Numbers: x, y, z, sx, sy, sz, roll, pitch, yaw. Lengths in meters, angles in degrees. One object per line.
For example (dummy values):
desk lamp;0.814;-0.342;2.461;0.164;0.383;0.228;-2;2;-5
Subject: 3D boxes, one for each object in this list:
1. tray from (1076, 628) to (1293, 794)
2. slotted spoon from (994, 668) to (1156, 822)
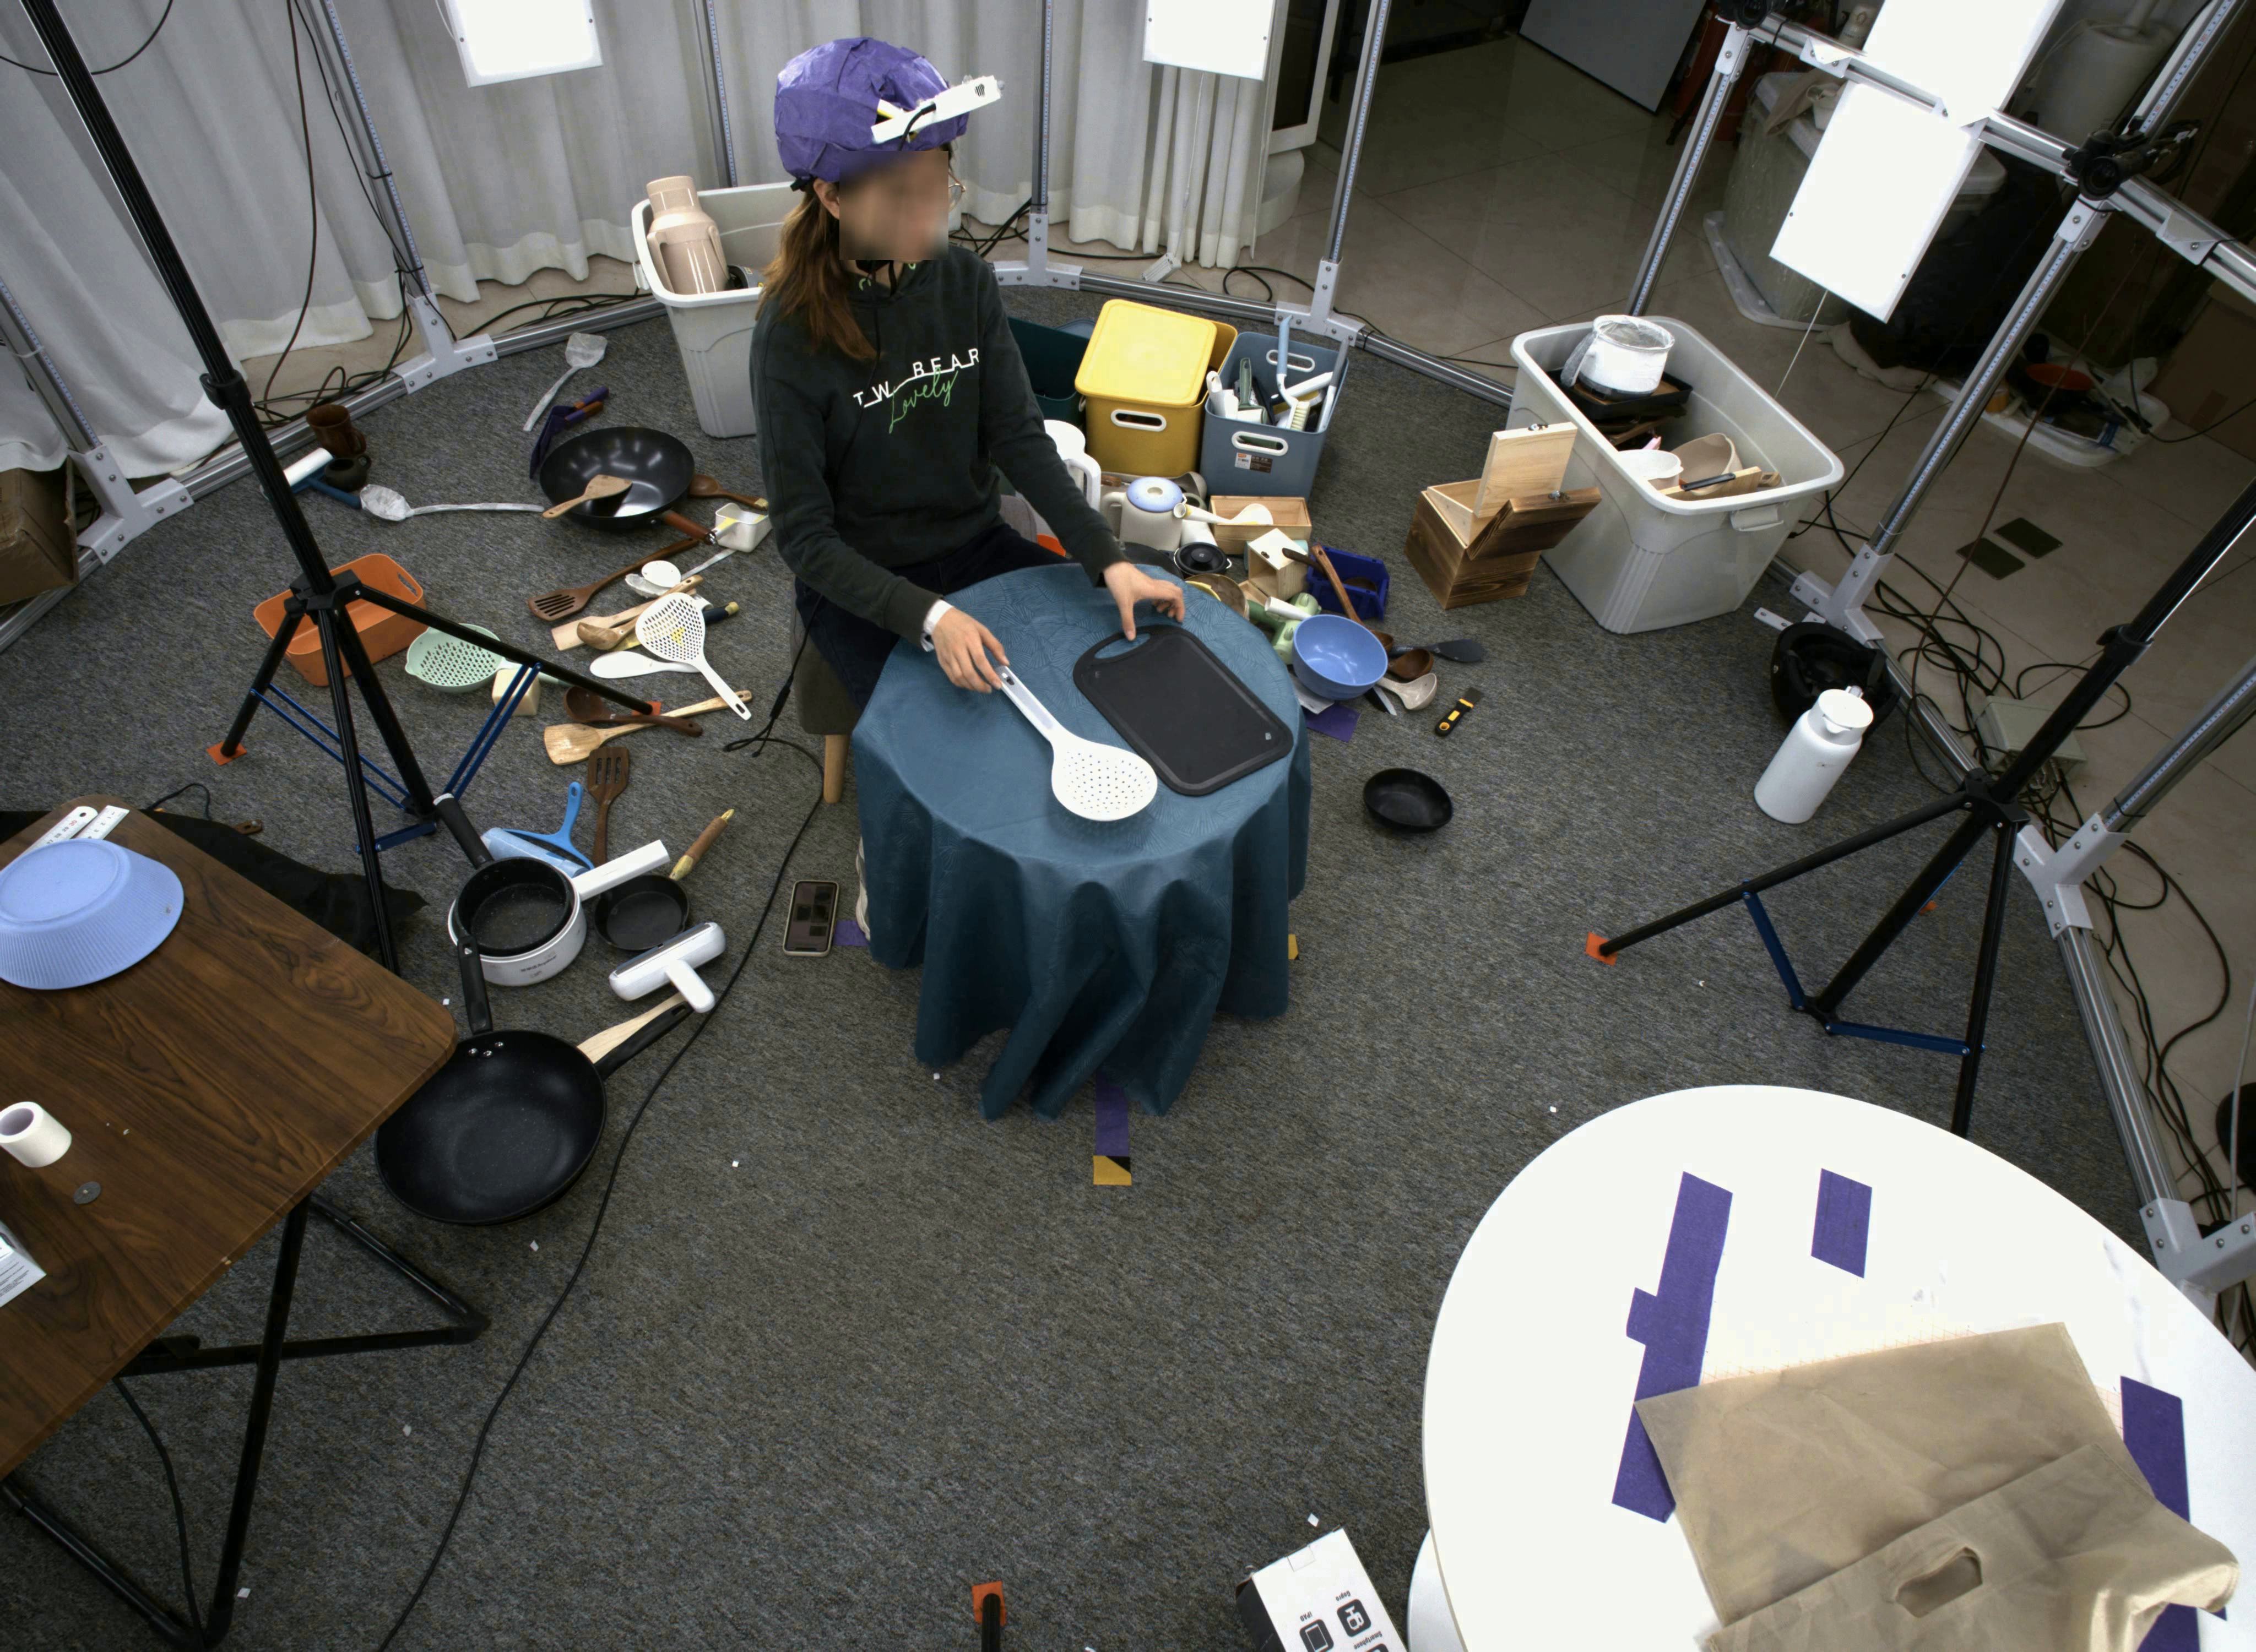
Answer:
tray;0.073;-0.176;1.838;0.212;0.009;0.332;-25;54;-24
slotted spoon;-0.090;-0.116;1.750;0.136;0.044;0.357;-22;53;-24
